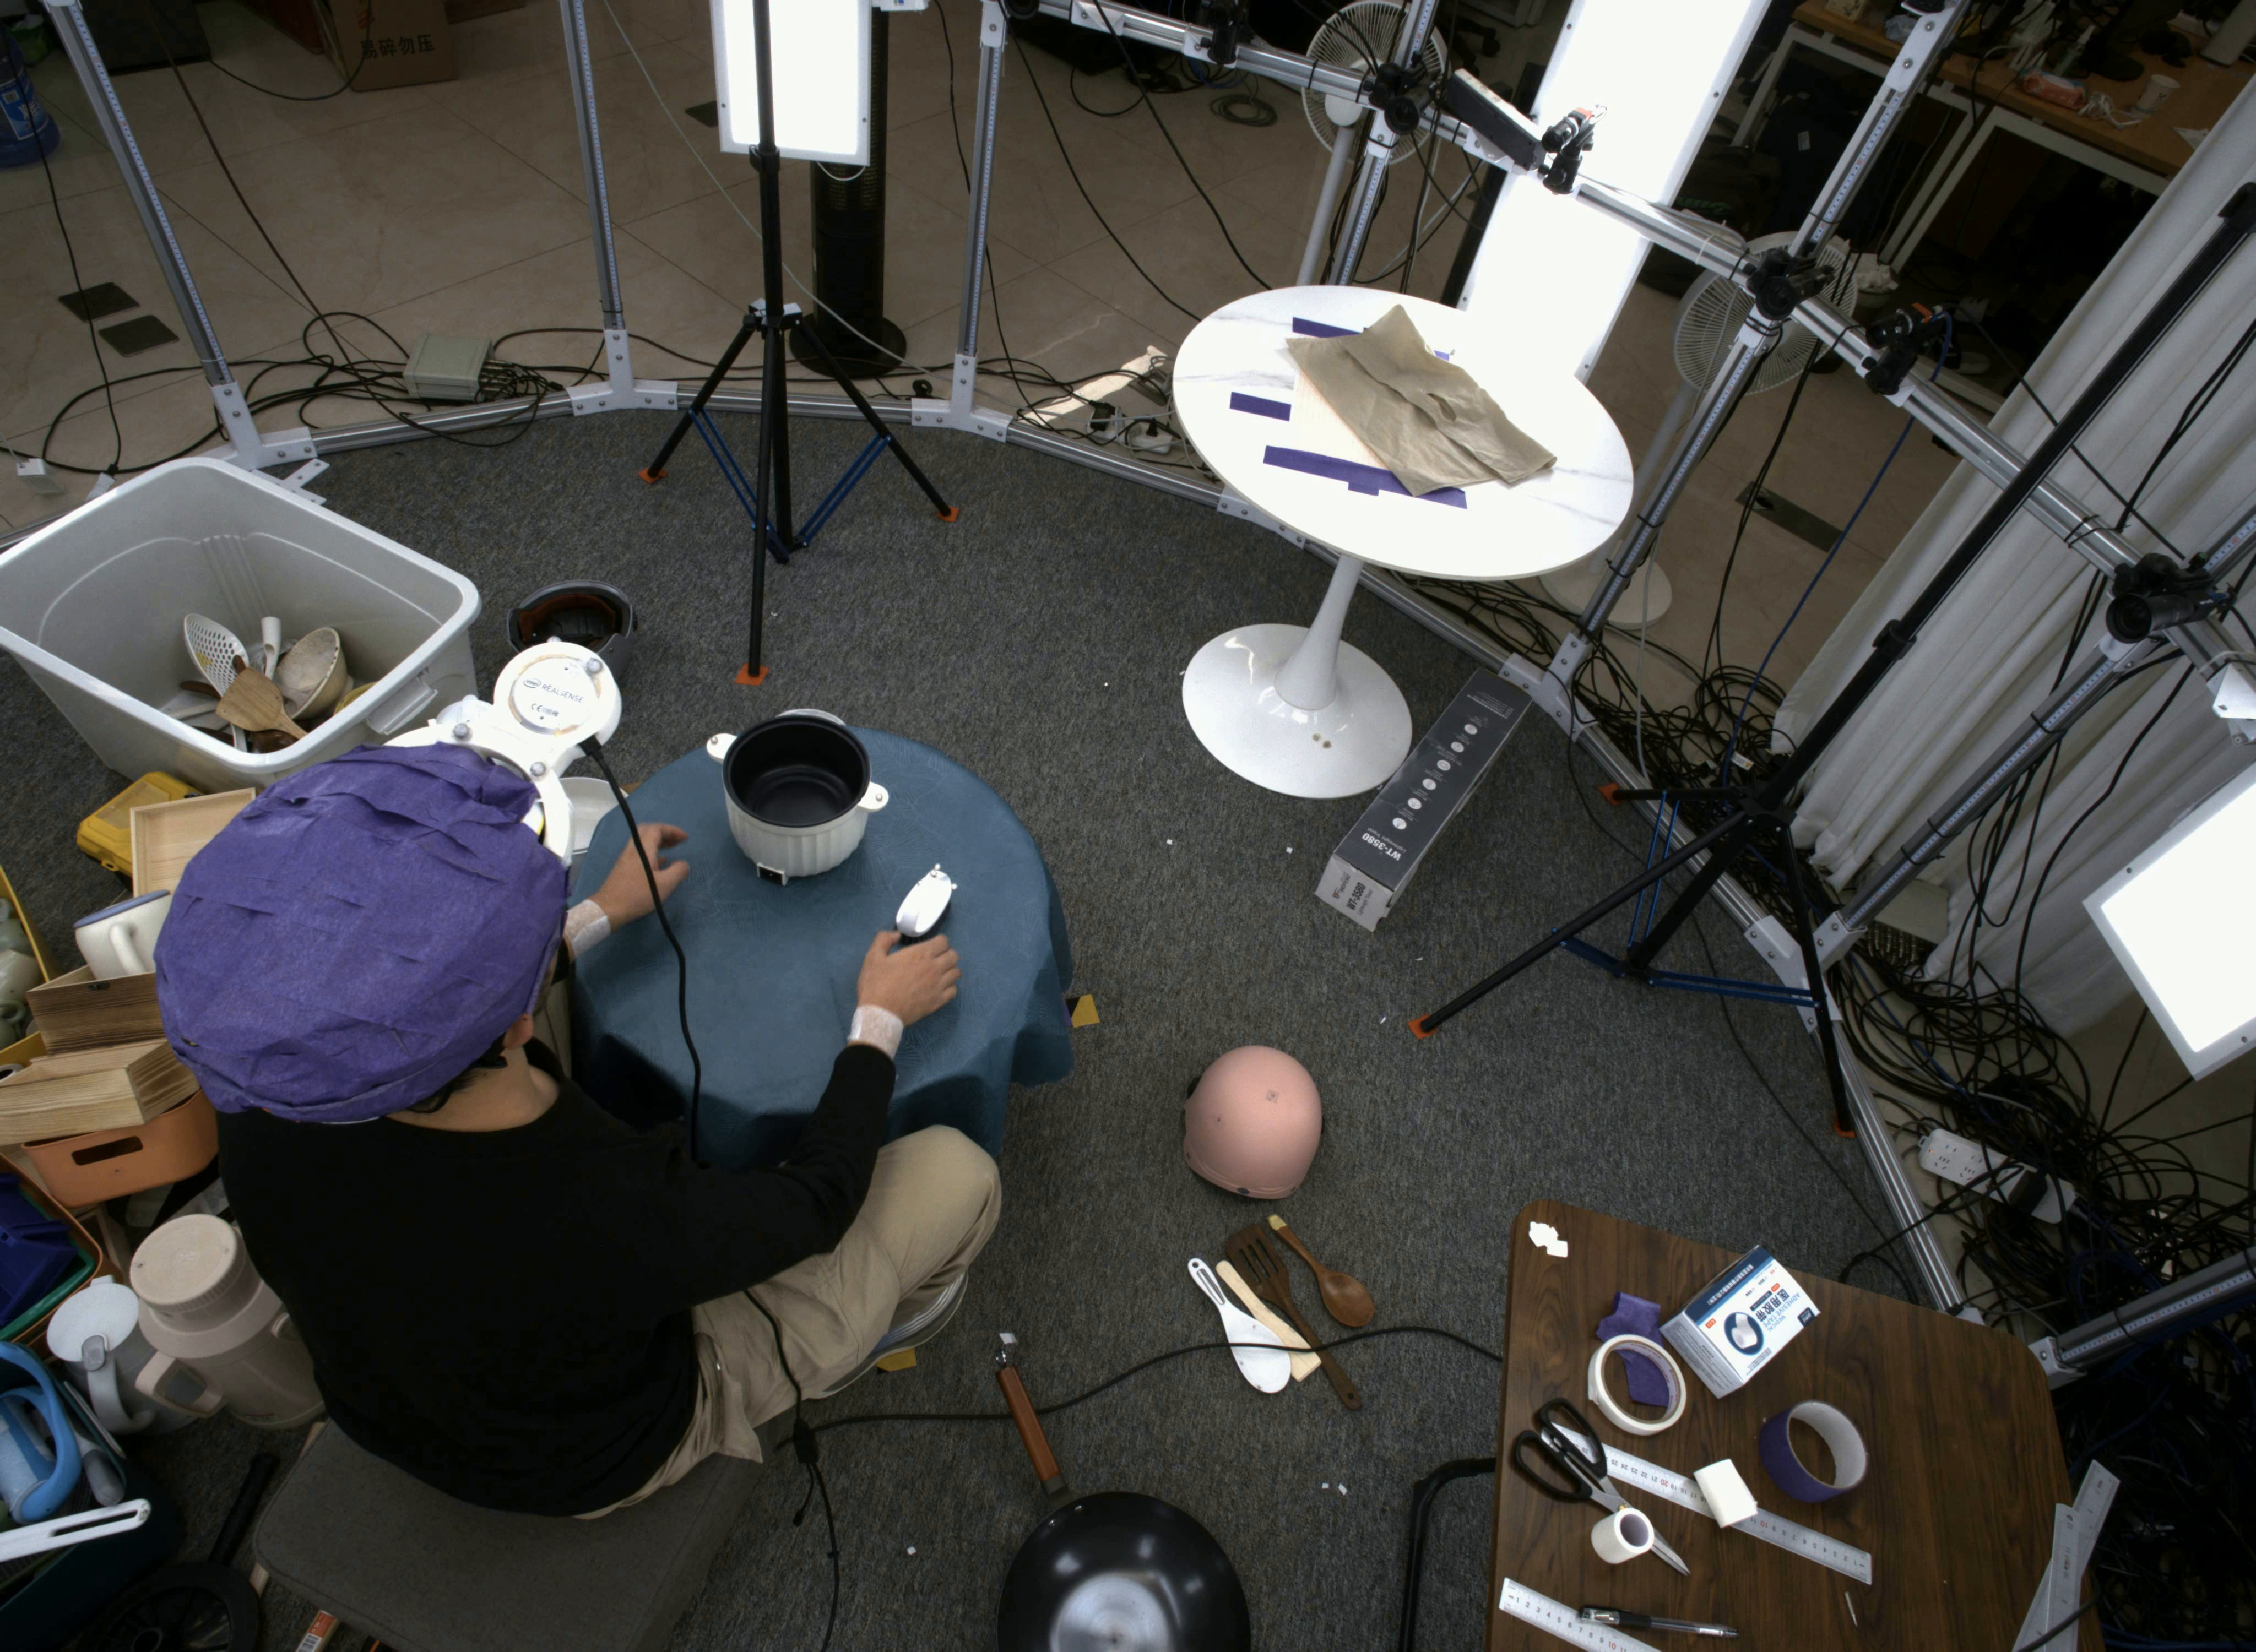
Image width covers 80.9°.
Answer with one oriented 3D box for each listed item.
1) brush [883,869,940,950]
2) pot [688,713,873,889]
[{"bbox_3d":[-0.272,0.096,1.640,0.049,0.074,0.098,24,51,7],"label":"brush"},{"bbox_3d":[-0.440,-0.035,1.651,0.239,0.145,0.188,18,54,-2],"label":"pot"}]
